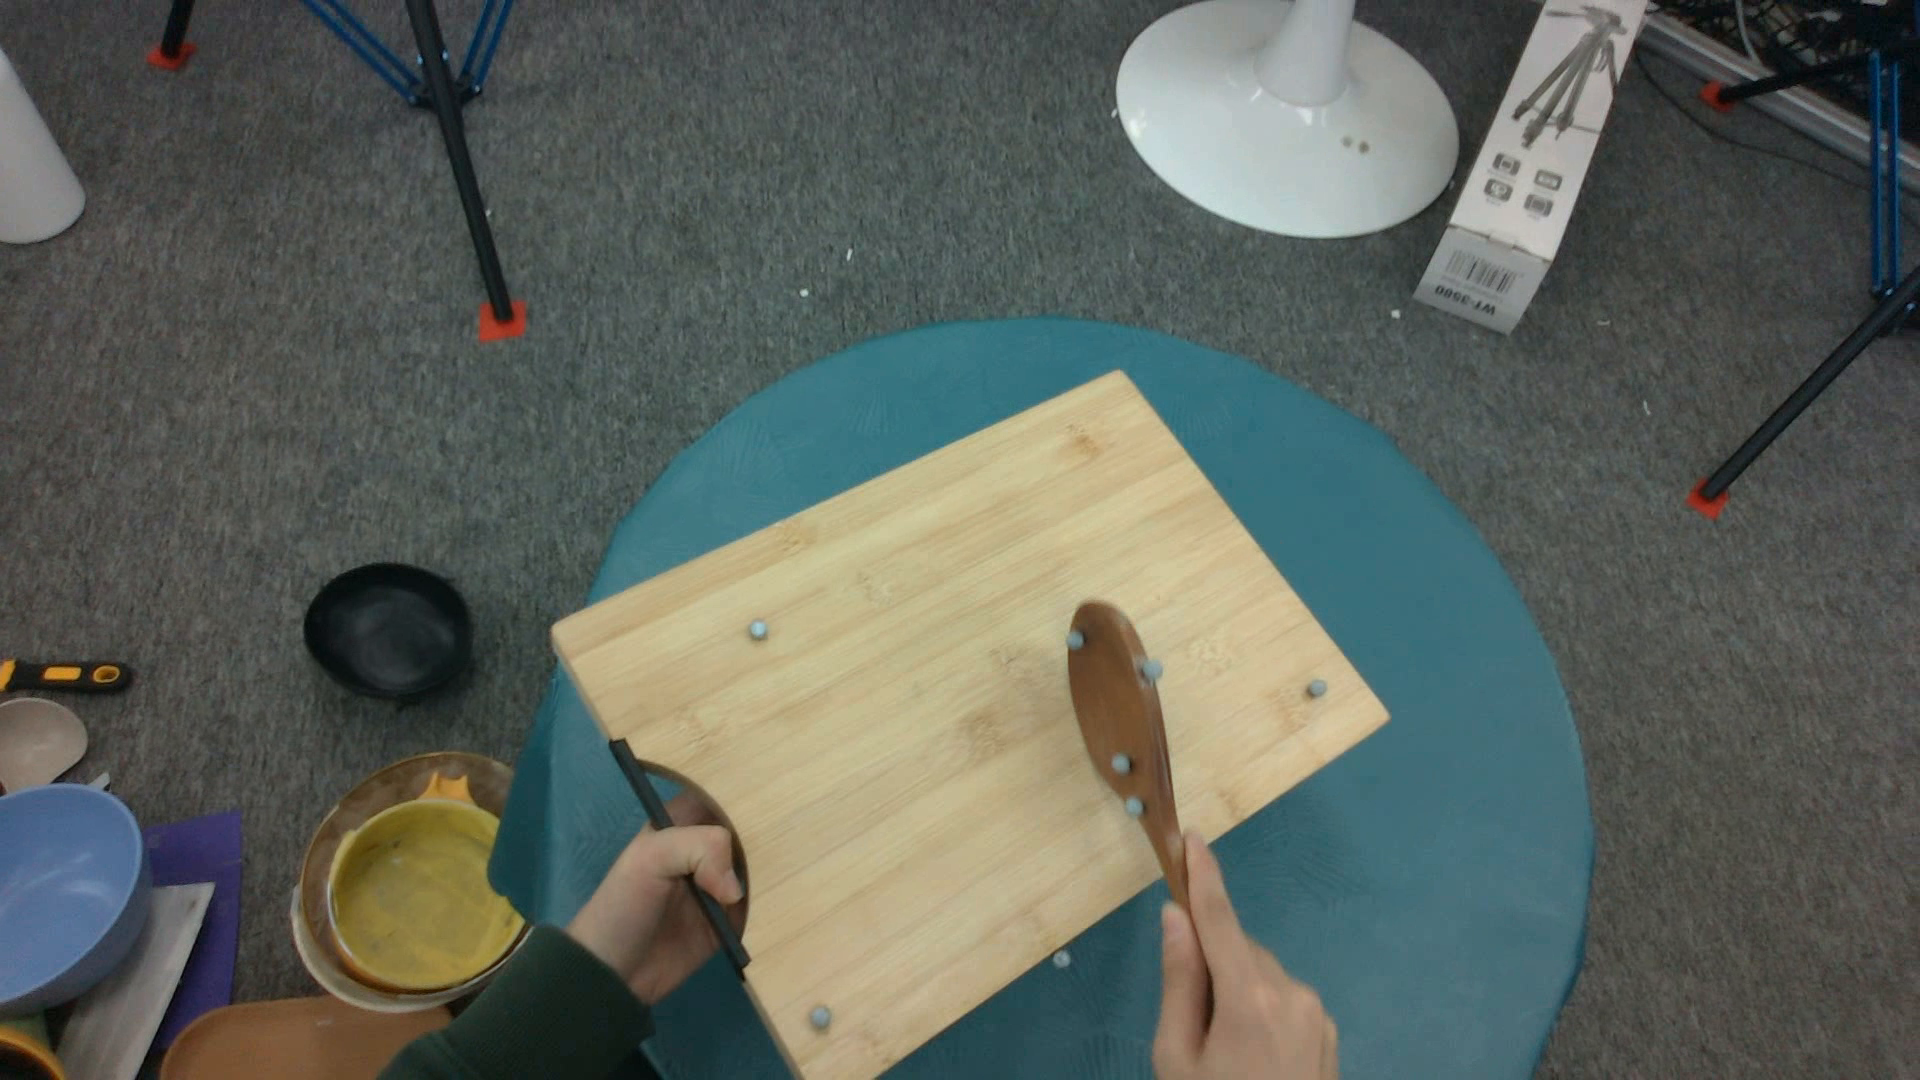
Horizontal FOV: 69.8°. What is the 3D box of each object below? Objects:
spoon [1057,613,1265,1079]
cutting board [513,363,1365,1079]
[{"bbox_3d":[0.086,0.129,0.594,0.017,0.075,0.216,-4,58,-23],"label":"spoon"},{"bbox_3d":[0.004,0.066,0.665,0.350,0.023,0.251,-28,70,-28],"label":"cutting board"}]
